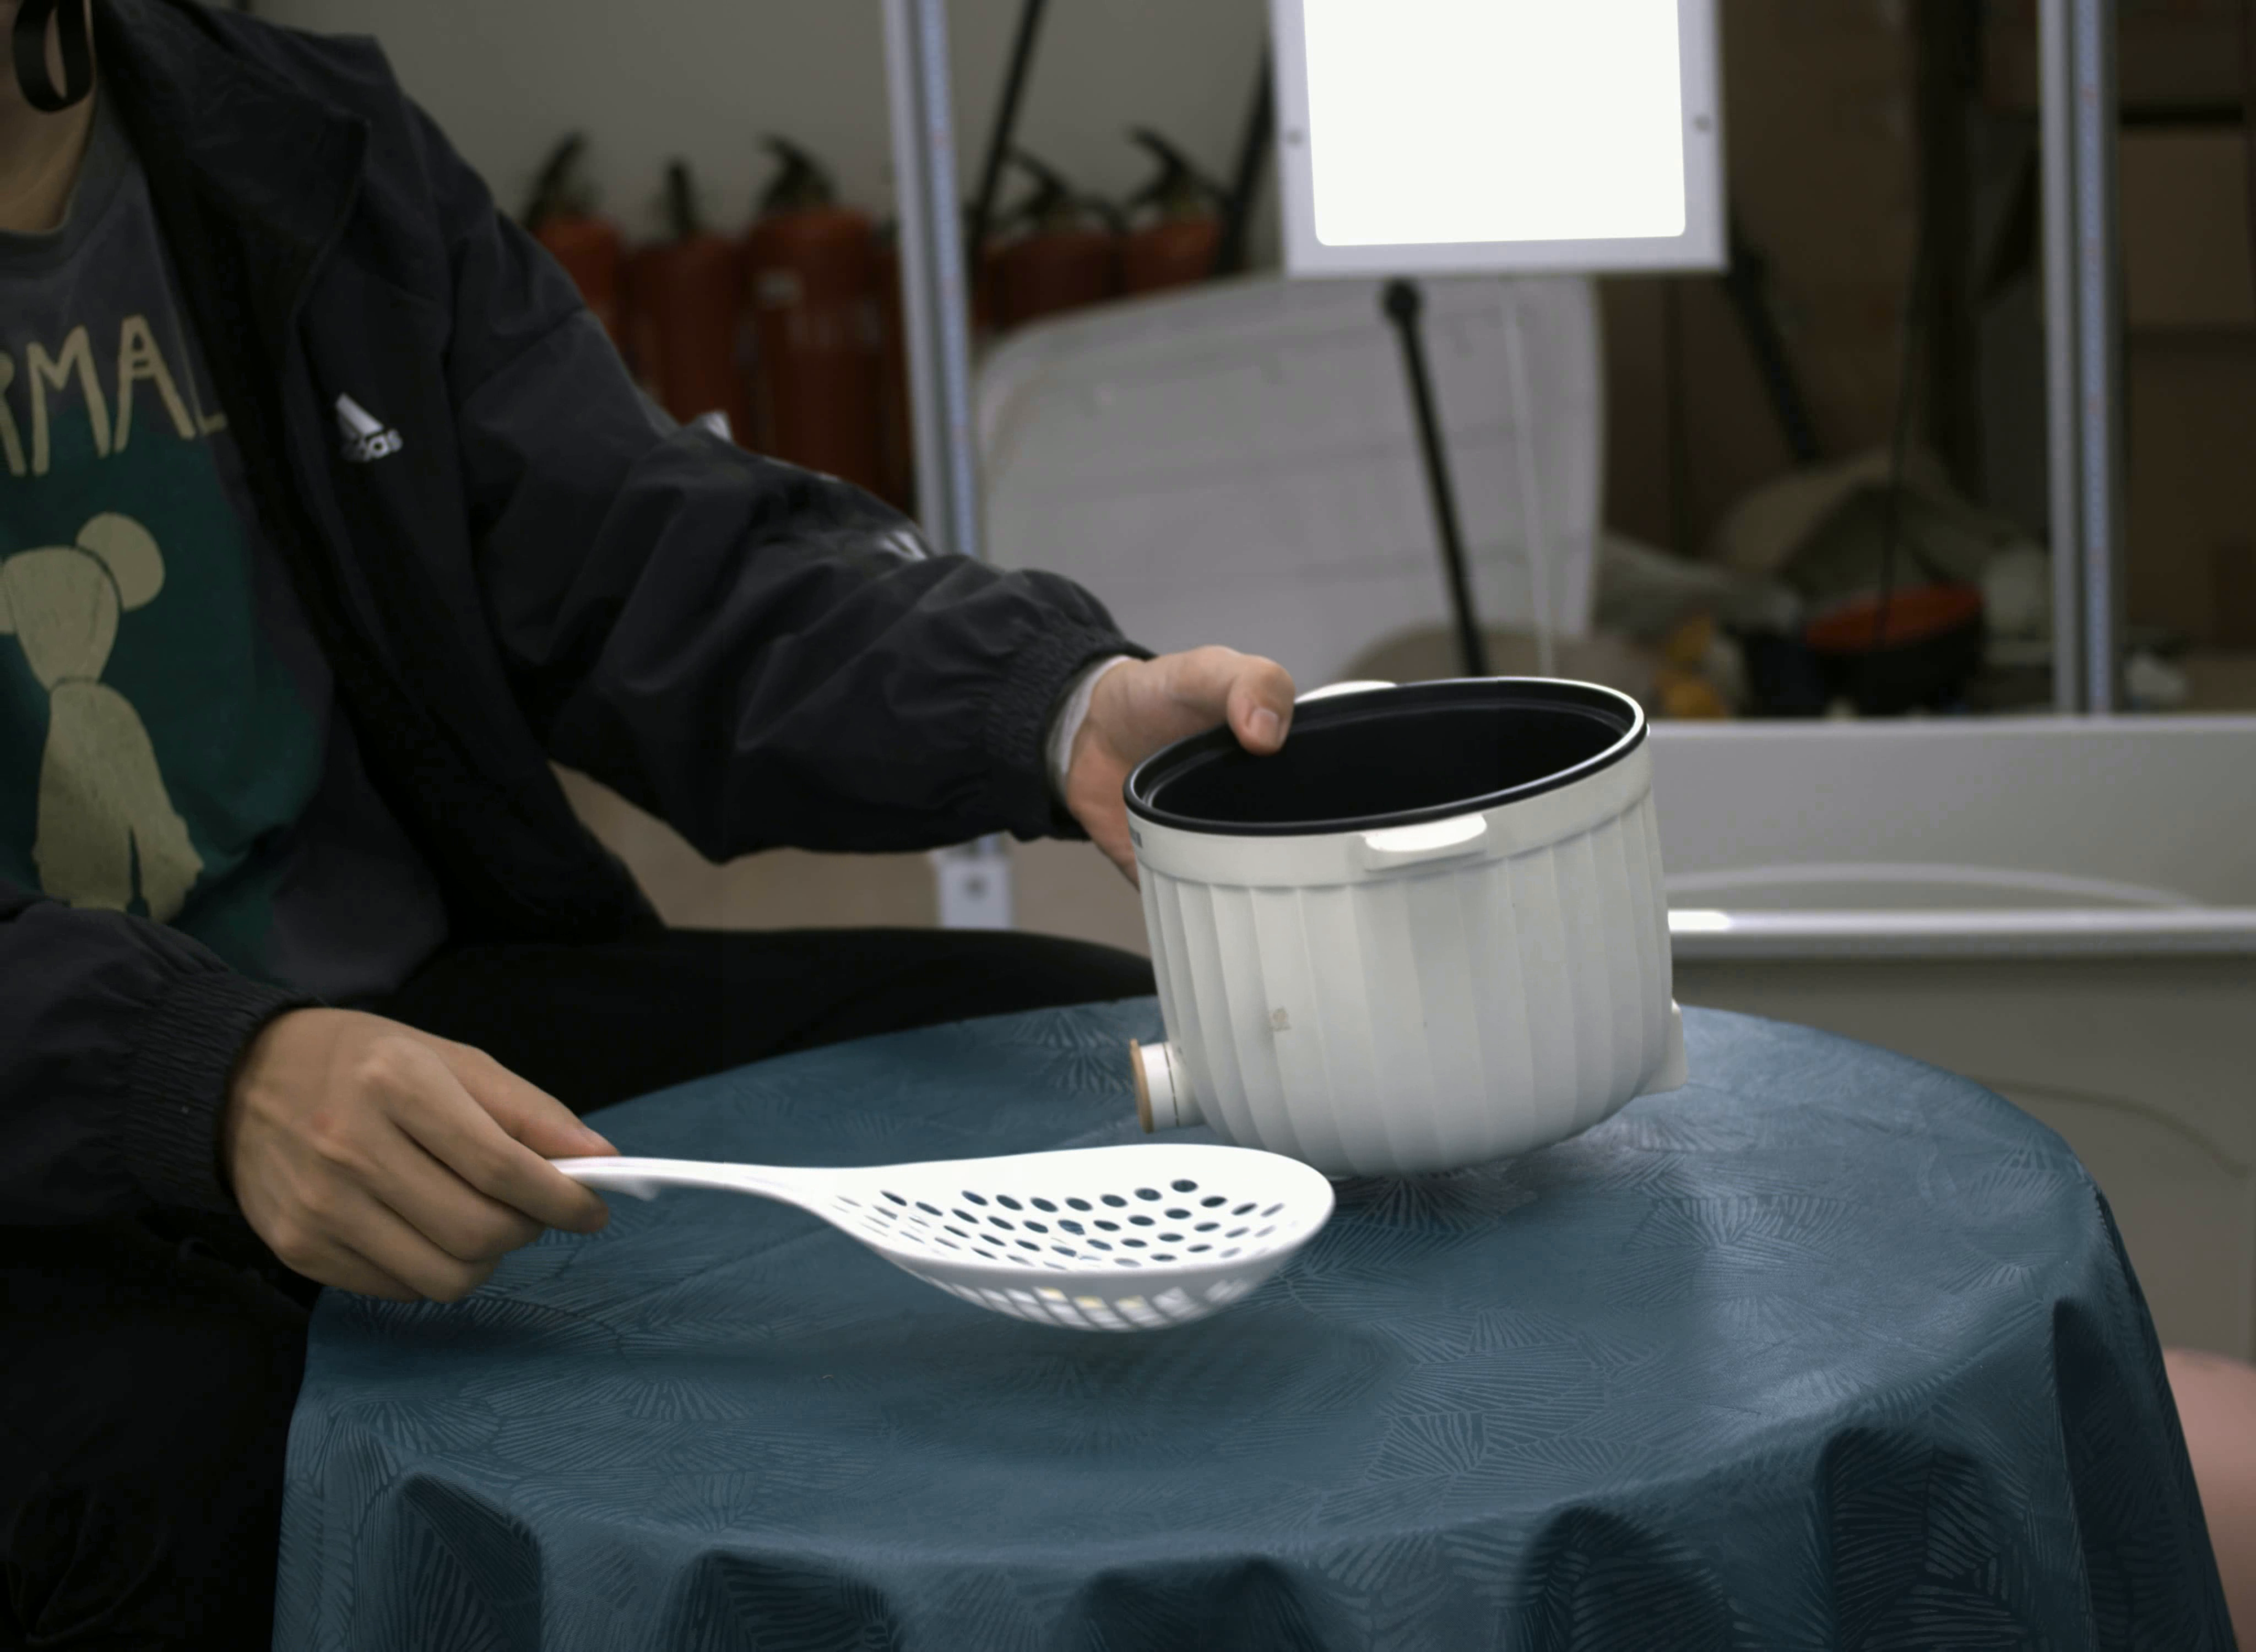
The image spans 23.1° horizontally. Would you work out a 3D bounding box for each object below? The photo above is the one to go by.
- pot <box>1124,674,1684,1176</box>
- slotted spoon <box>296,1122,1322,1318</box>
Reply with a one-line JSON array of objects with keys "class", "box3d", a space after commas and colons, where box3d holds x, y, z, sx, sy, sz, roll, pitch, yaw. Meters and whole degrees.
[{"class": "pot", "box3d": [0.091, 0.036, 1.885, 0.189, 0.143, 0.241, -7, 13, -3]}, {"class": "slotted spoon", "box3d": [-0.108, 0.122, 1.763, 0.353, 0.050, 0.134, 5, 14, 22]}]
